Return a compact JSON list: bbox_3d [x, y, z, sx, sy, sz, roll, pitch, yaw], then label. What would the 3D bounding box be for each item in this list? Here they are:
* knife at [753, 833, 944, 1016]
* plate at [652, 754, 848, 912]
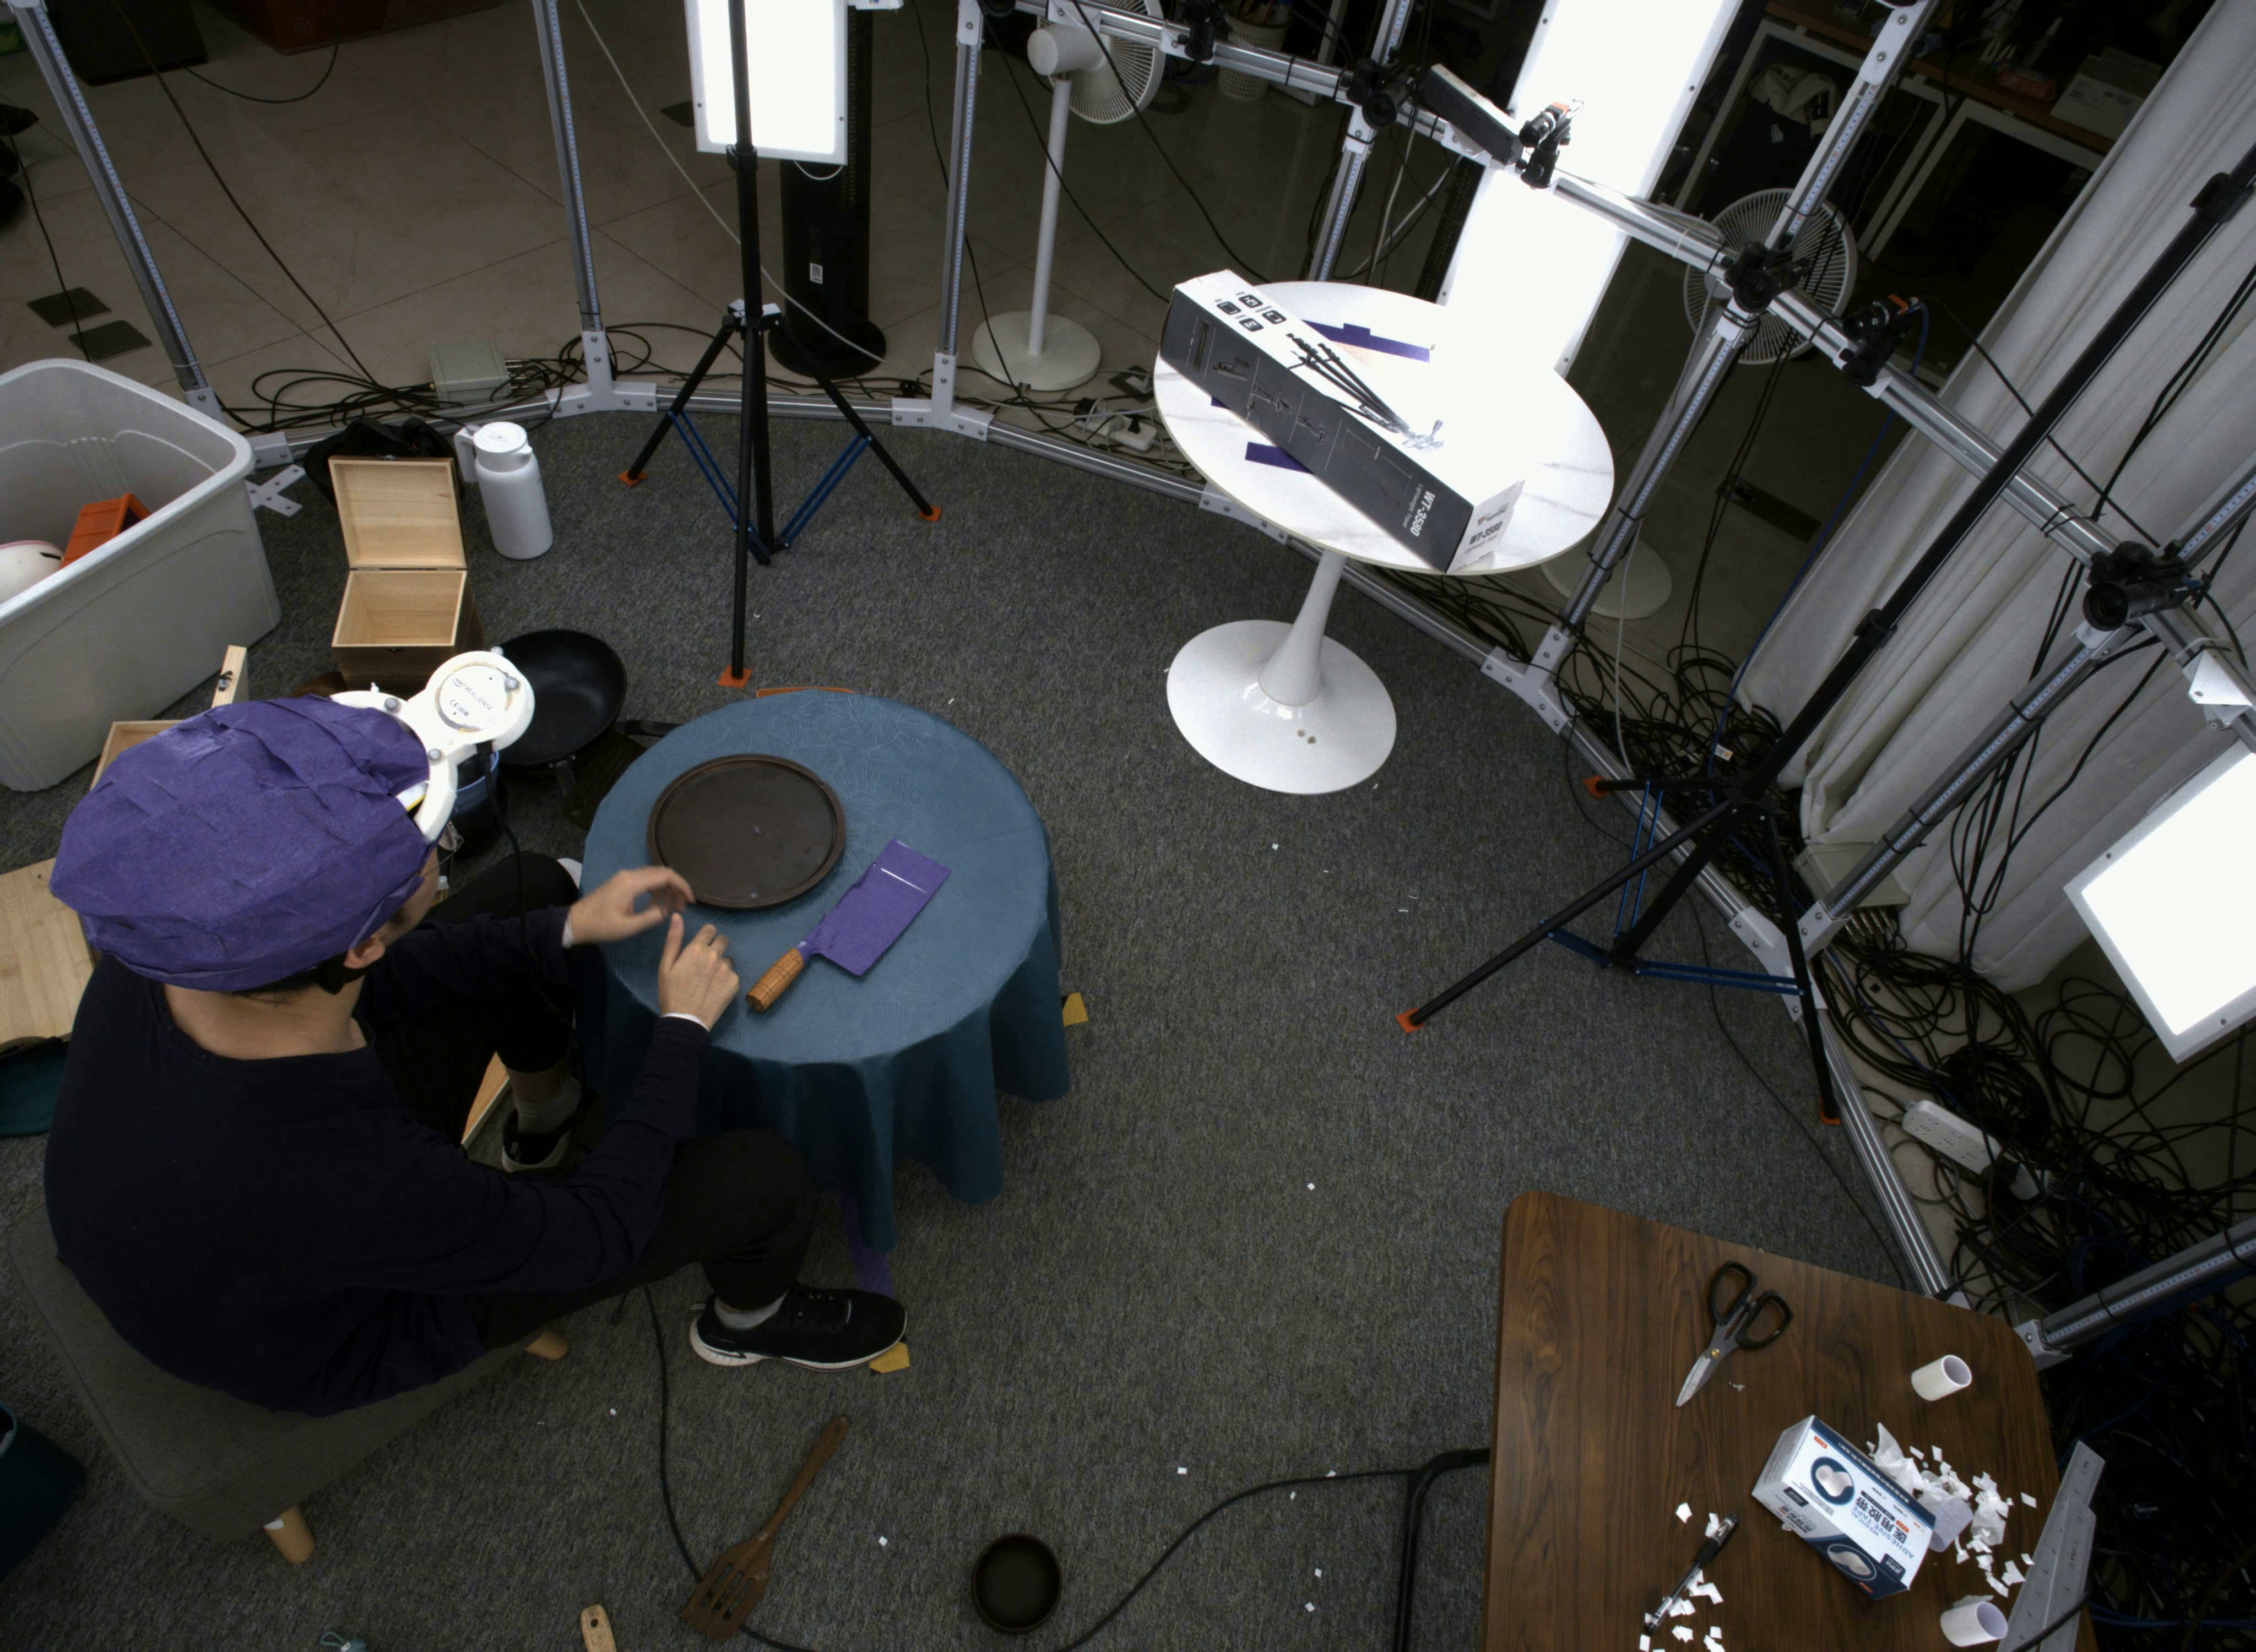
[{"bbox_3d":[-0.344,0.128,1.643,0.102,0.033,0.314,28,52,8],"label":"knife"},{"bbox_3d":[-0.495,0.007,1.697,0.254,0.029,0.250,8,52,-9],"label":"plate"}]
